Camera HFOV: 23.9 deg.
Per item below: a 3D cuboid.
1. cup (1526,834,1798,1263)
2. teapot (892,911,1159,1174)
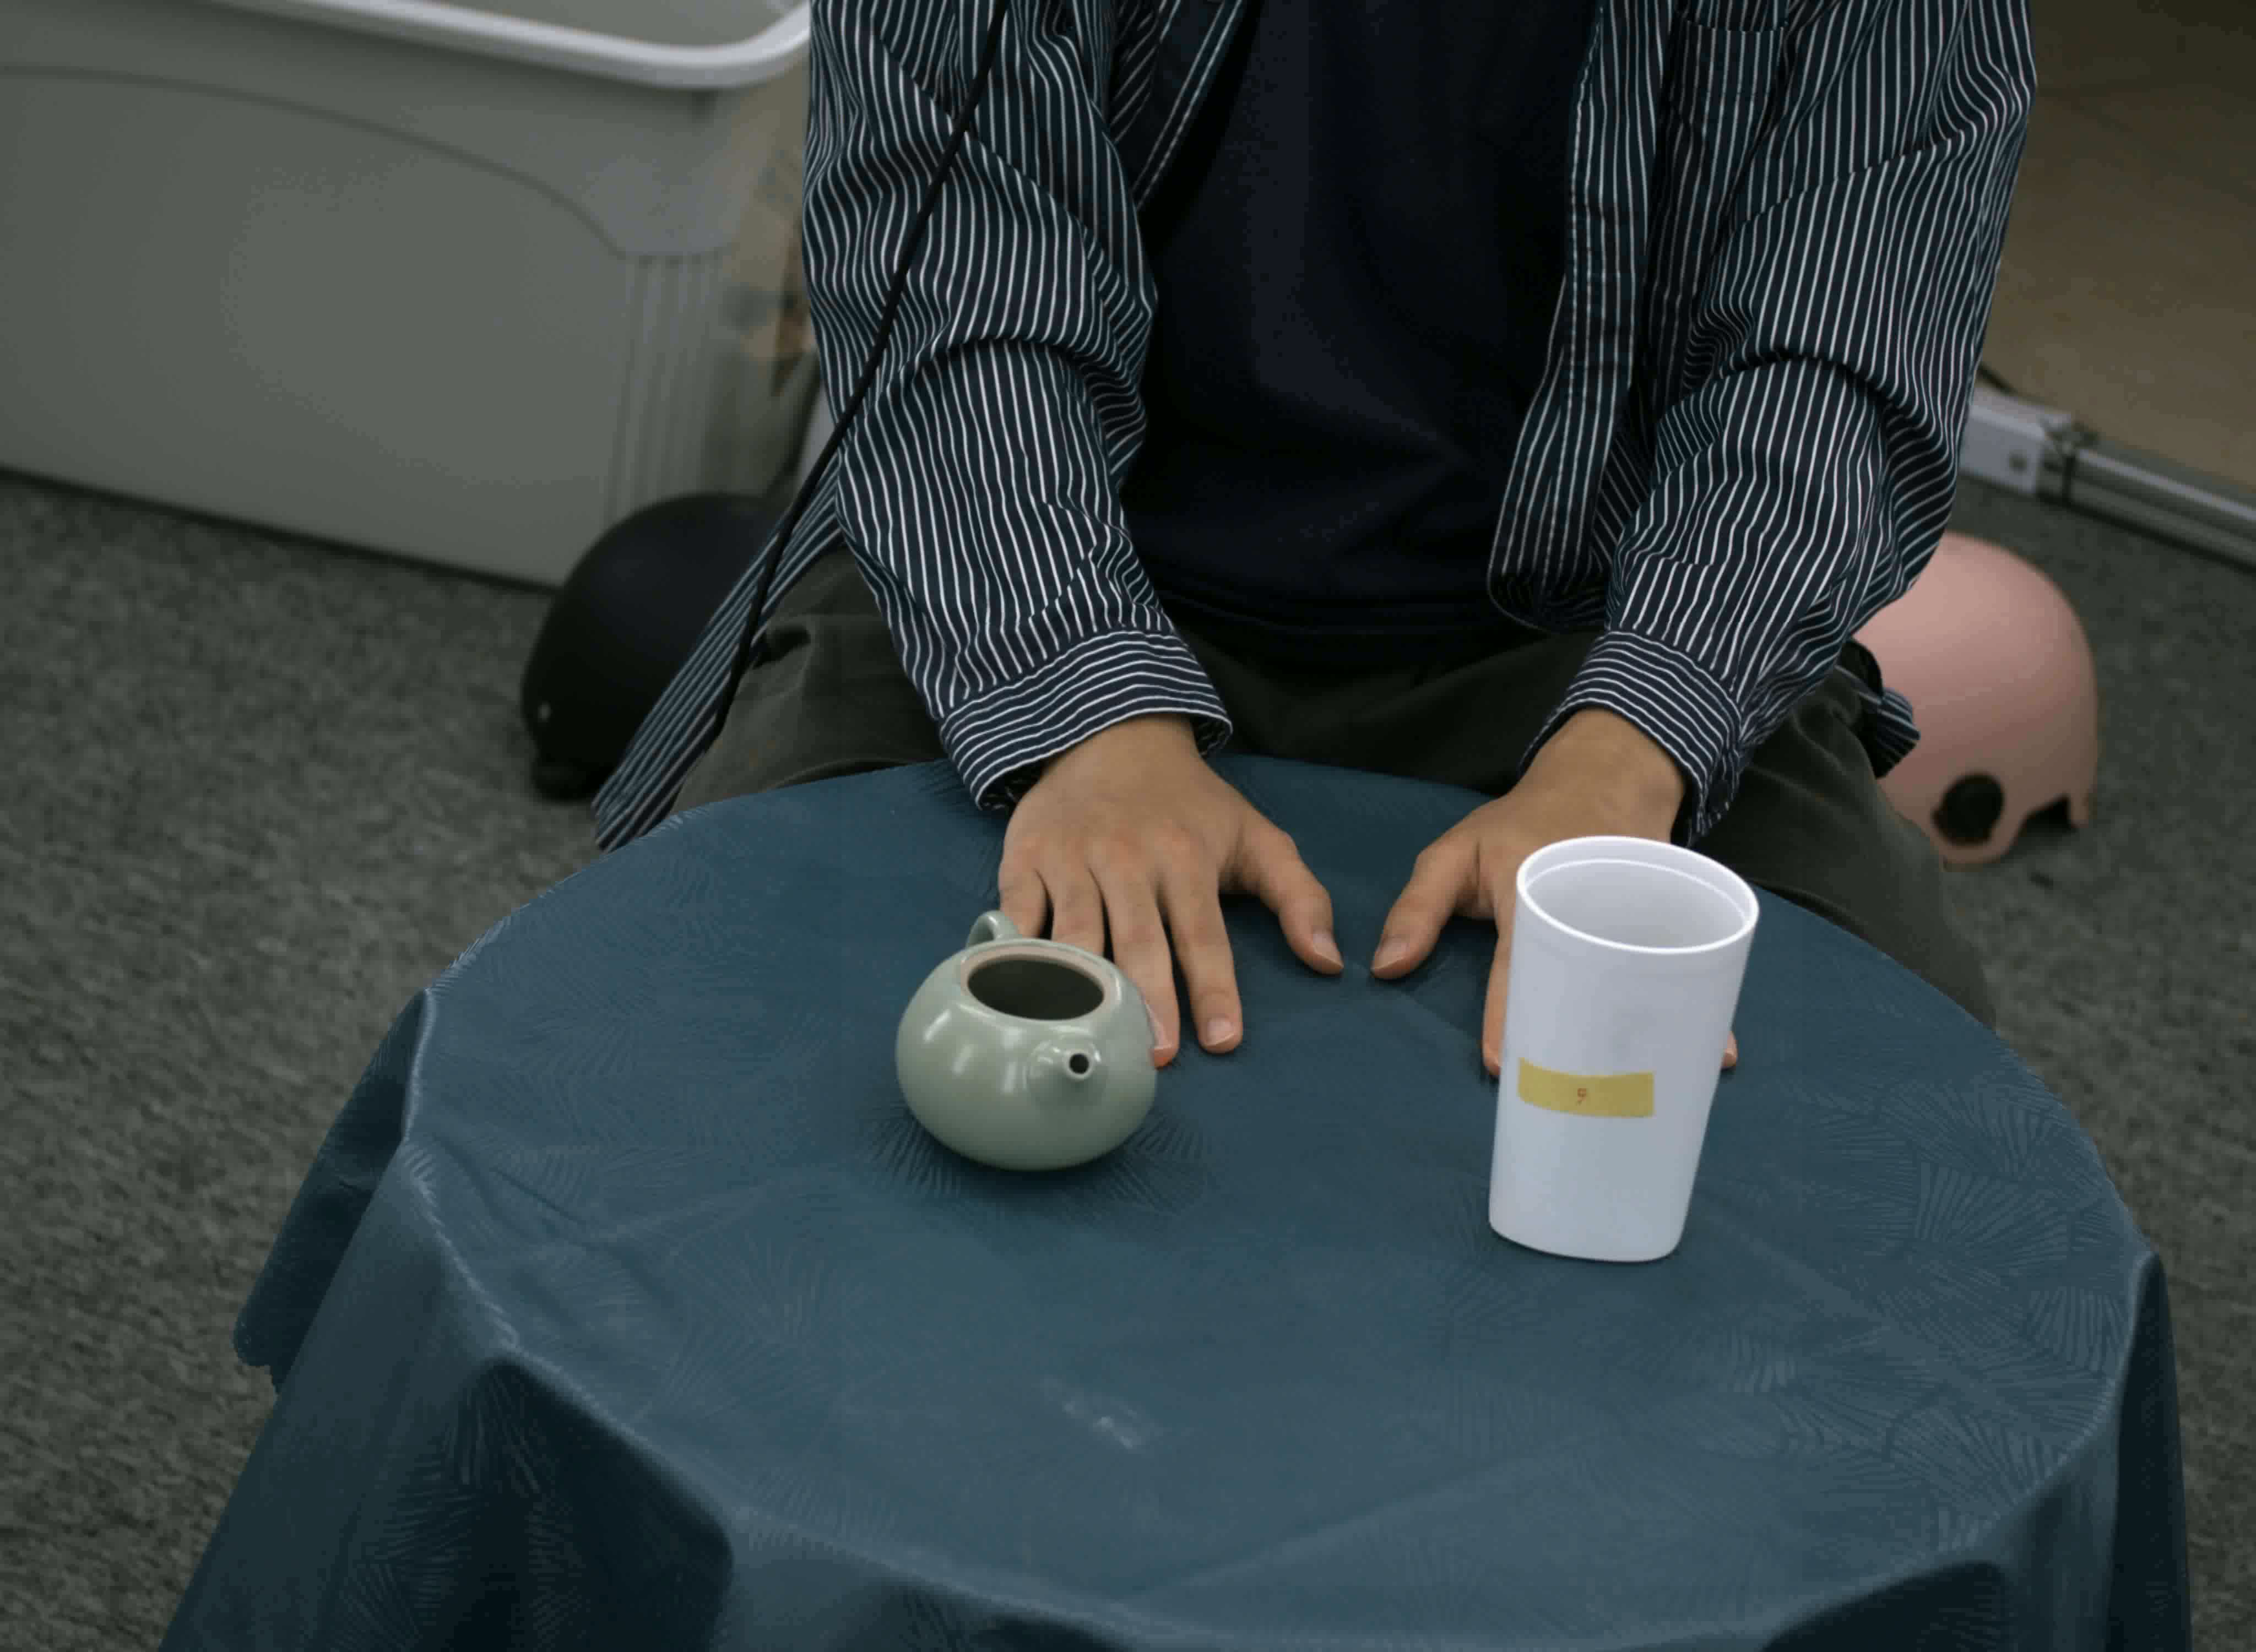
[{"bbox_3d":[0.175,0.077,1.785,0.081,0.125,0.082,5,26,-3],"label":"cup"},{"bbox_3d":[-0.037,0.075,1.823,0.091,0.061,0.129,-2,27,-12],"label":"teapot"}]
